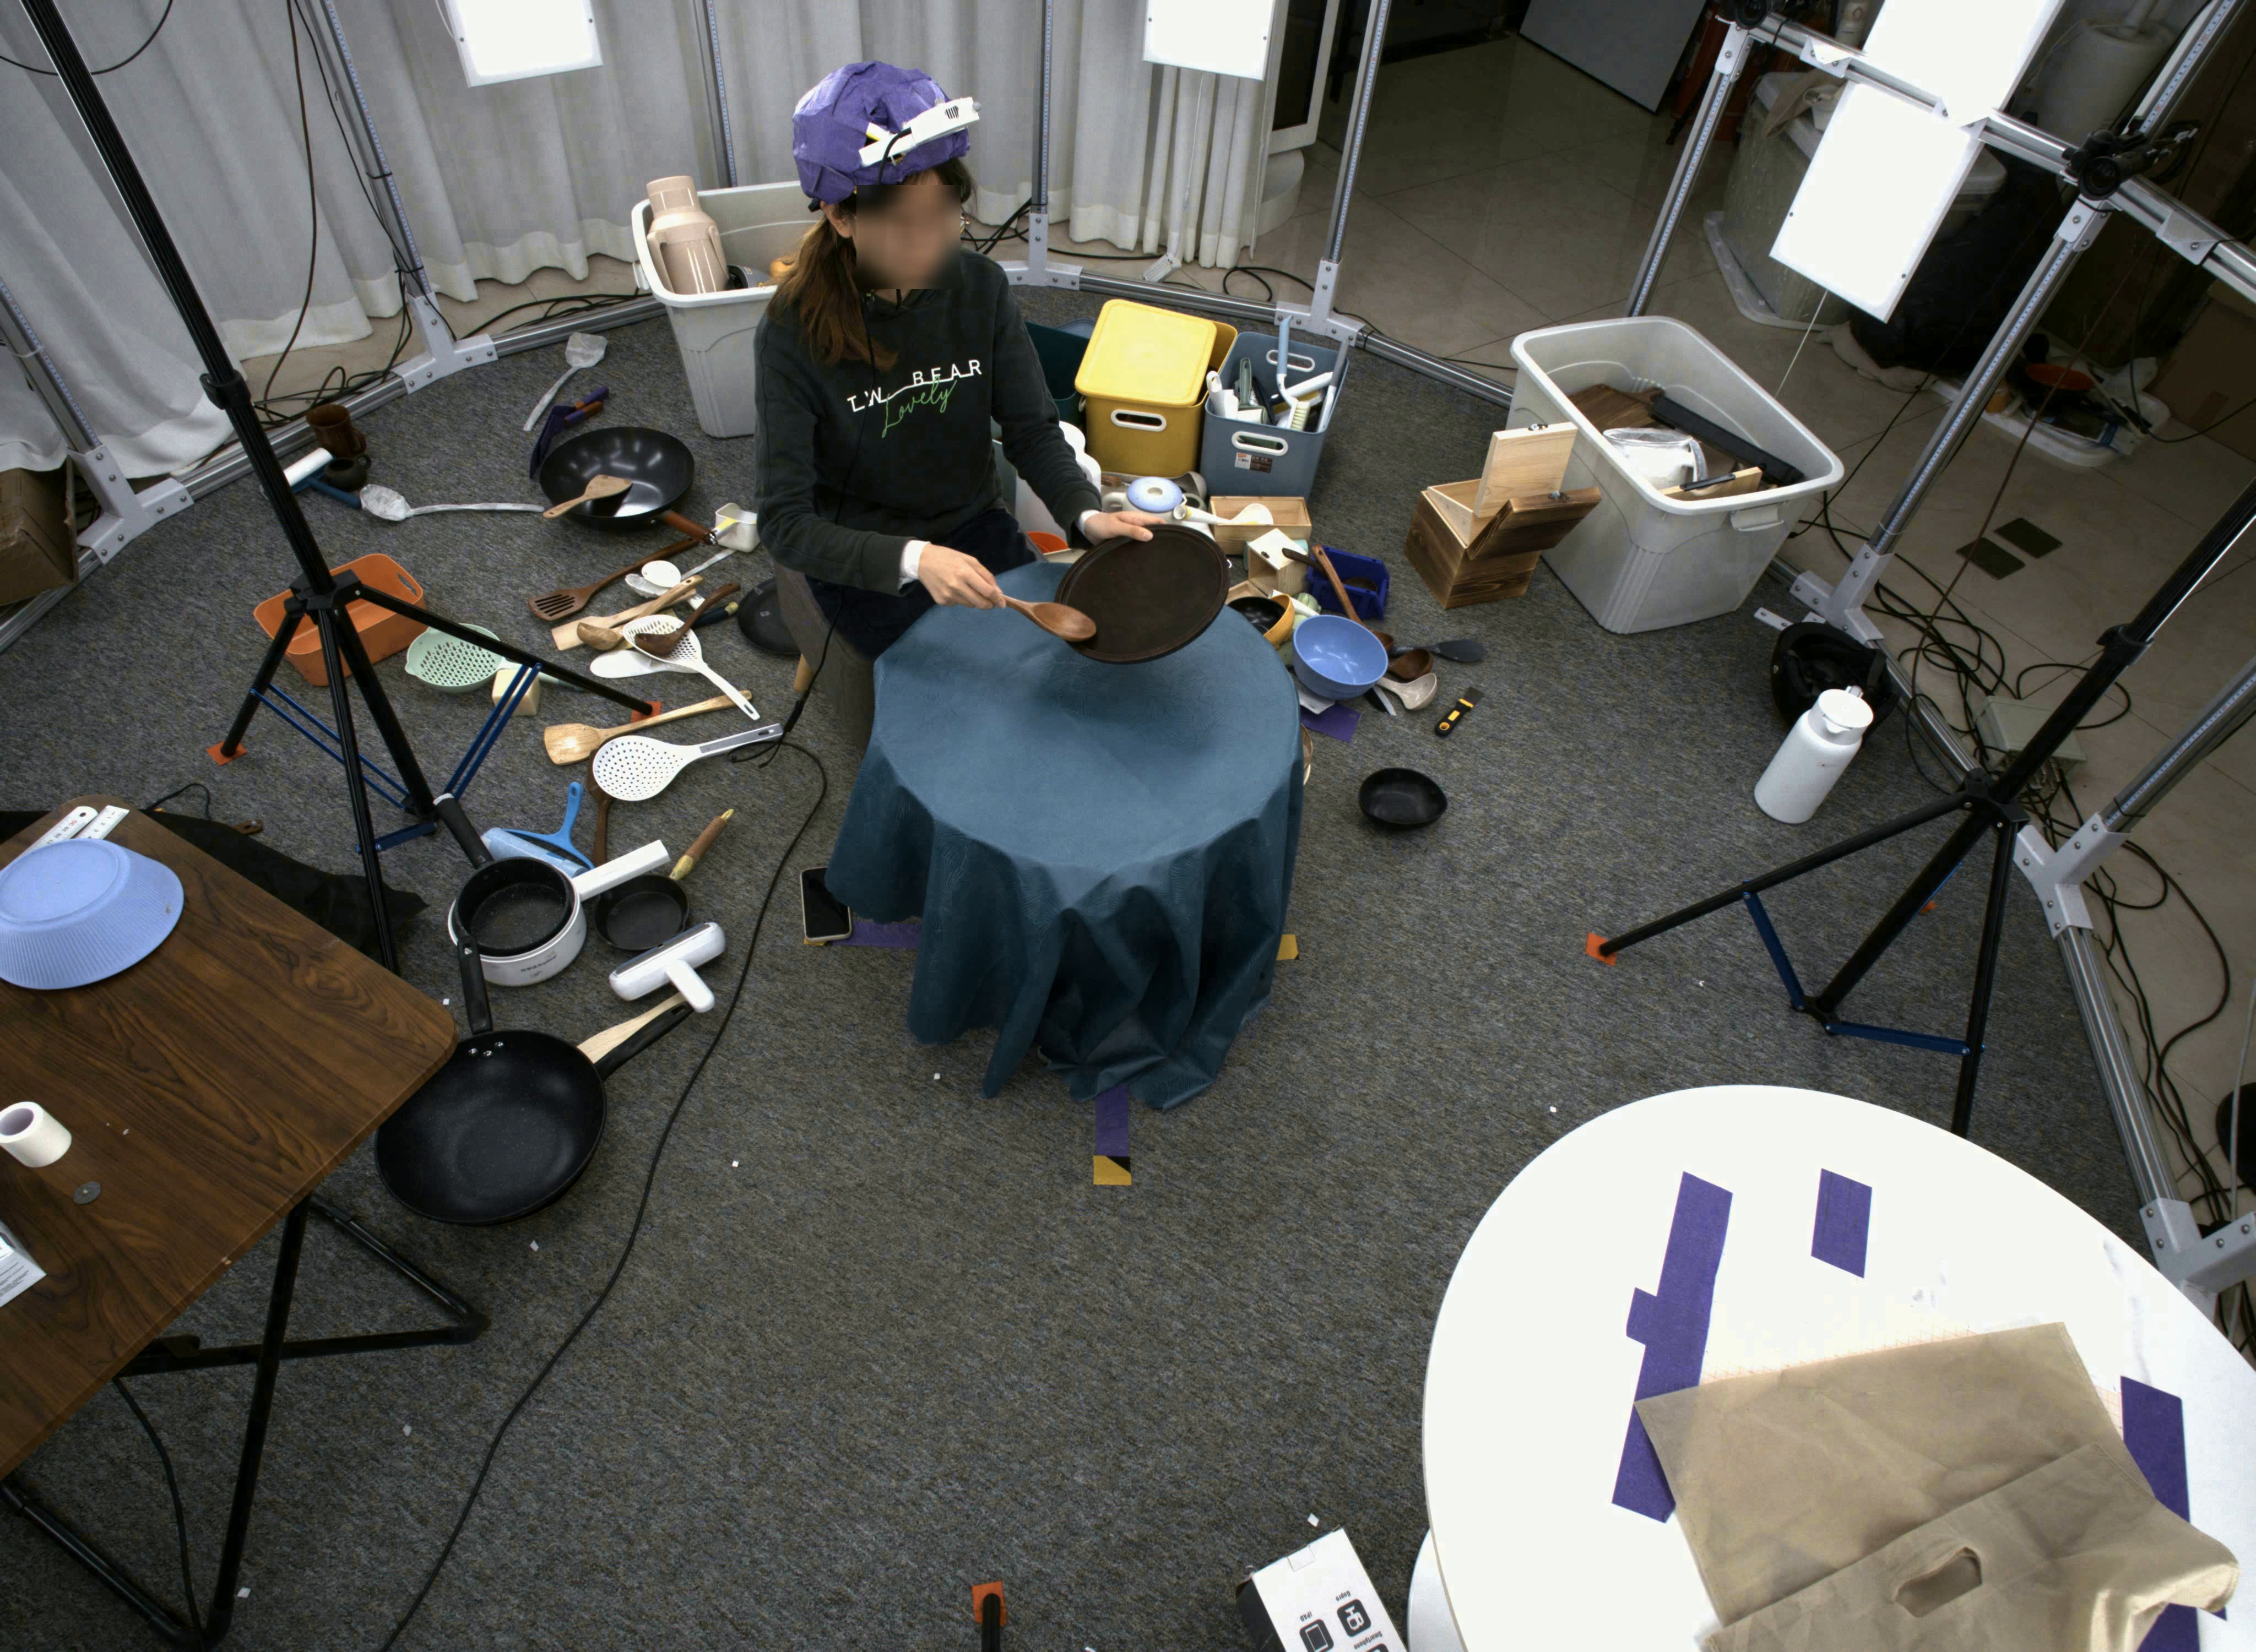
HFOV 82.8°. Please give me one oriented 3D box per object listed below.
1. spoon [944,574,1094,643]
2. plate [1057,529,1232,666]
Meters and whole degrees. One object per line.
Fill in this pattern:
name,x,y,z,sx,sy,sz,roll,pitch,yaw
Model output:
spoon,-0.149,-0.300,1.763,0.215,0.017,0.077,21,39,-4
plate,0.022,-0.320,1.796,0.255,0.028,0.261,-9,53,12
